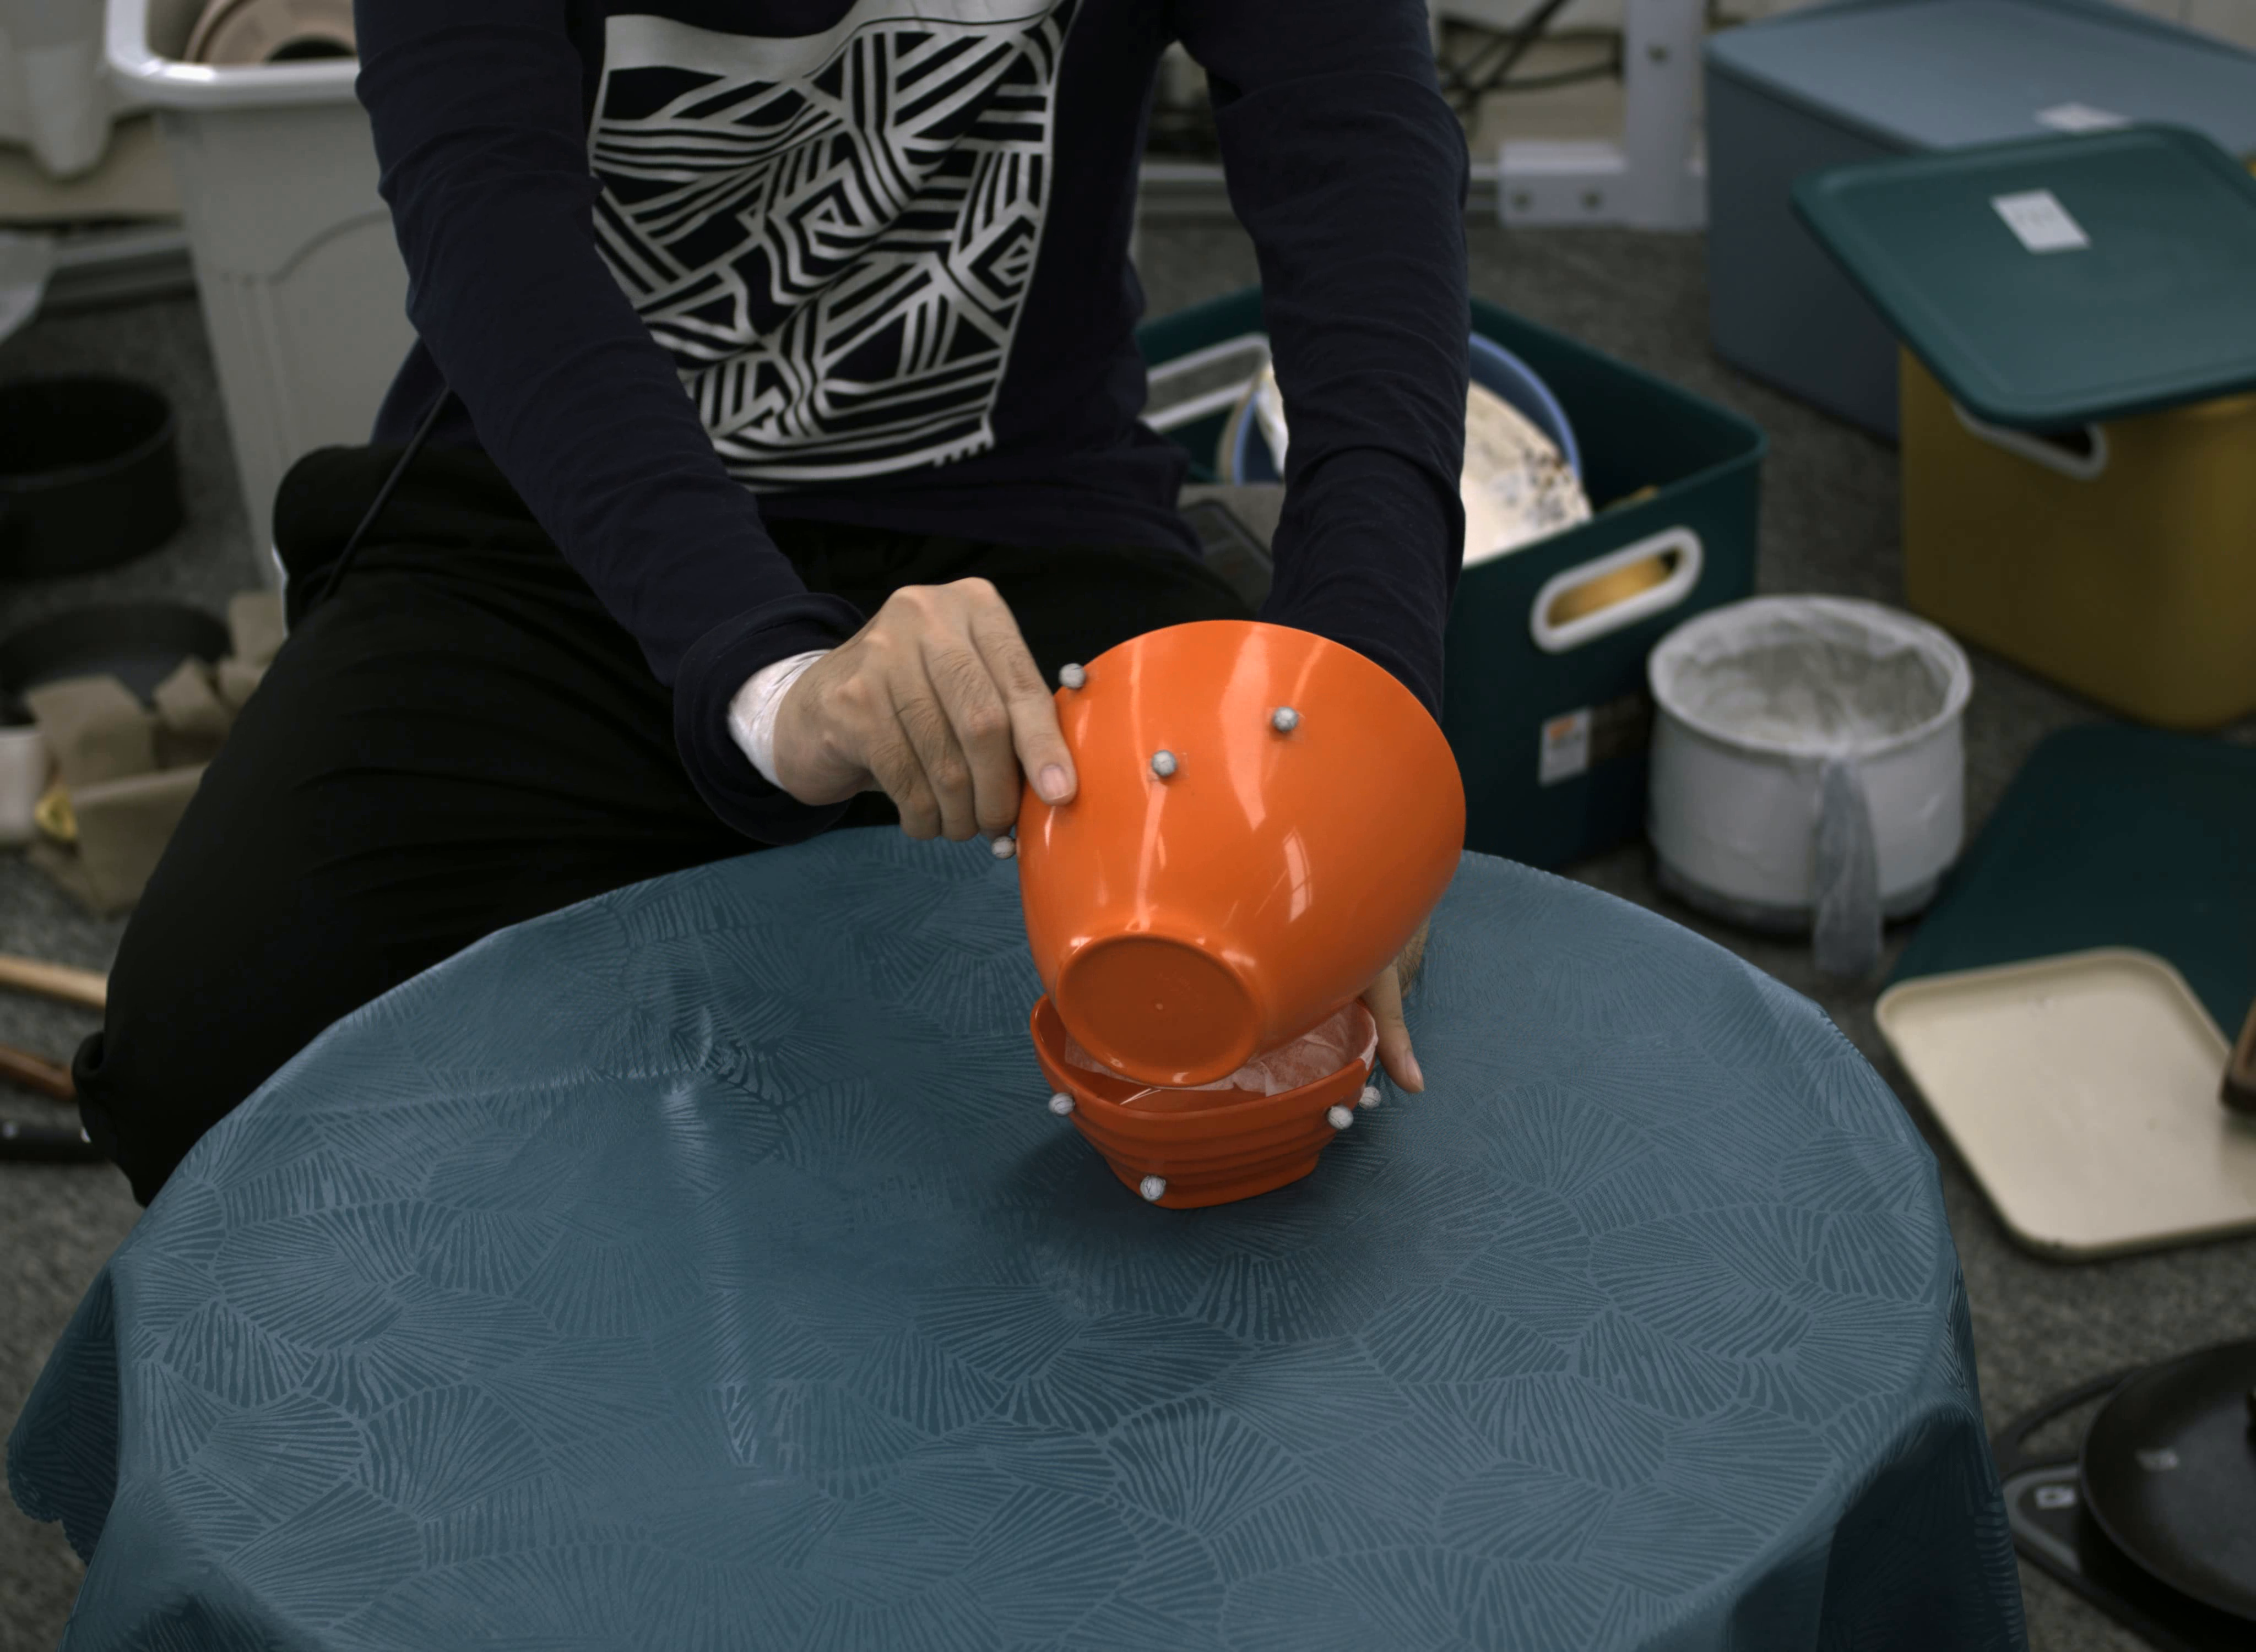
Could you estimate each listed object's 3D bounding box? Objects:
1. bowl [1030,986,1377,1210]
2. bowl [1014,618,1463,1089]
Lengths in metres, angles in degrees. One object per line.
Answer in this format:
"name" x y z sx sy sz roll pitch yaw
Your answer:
"bowl" 0.026 0.086 1.871 0.118 0.051 0.121 -3 29 2
"bowl" 0.027 0.021 1.809 0.147 0.146 0.107 4 39 12
